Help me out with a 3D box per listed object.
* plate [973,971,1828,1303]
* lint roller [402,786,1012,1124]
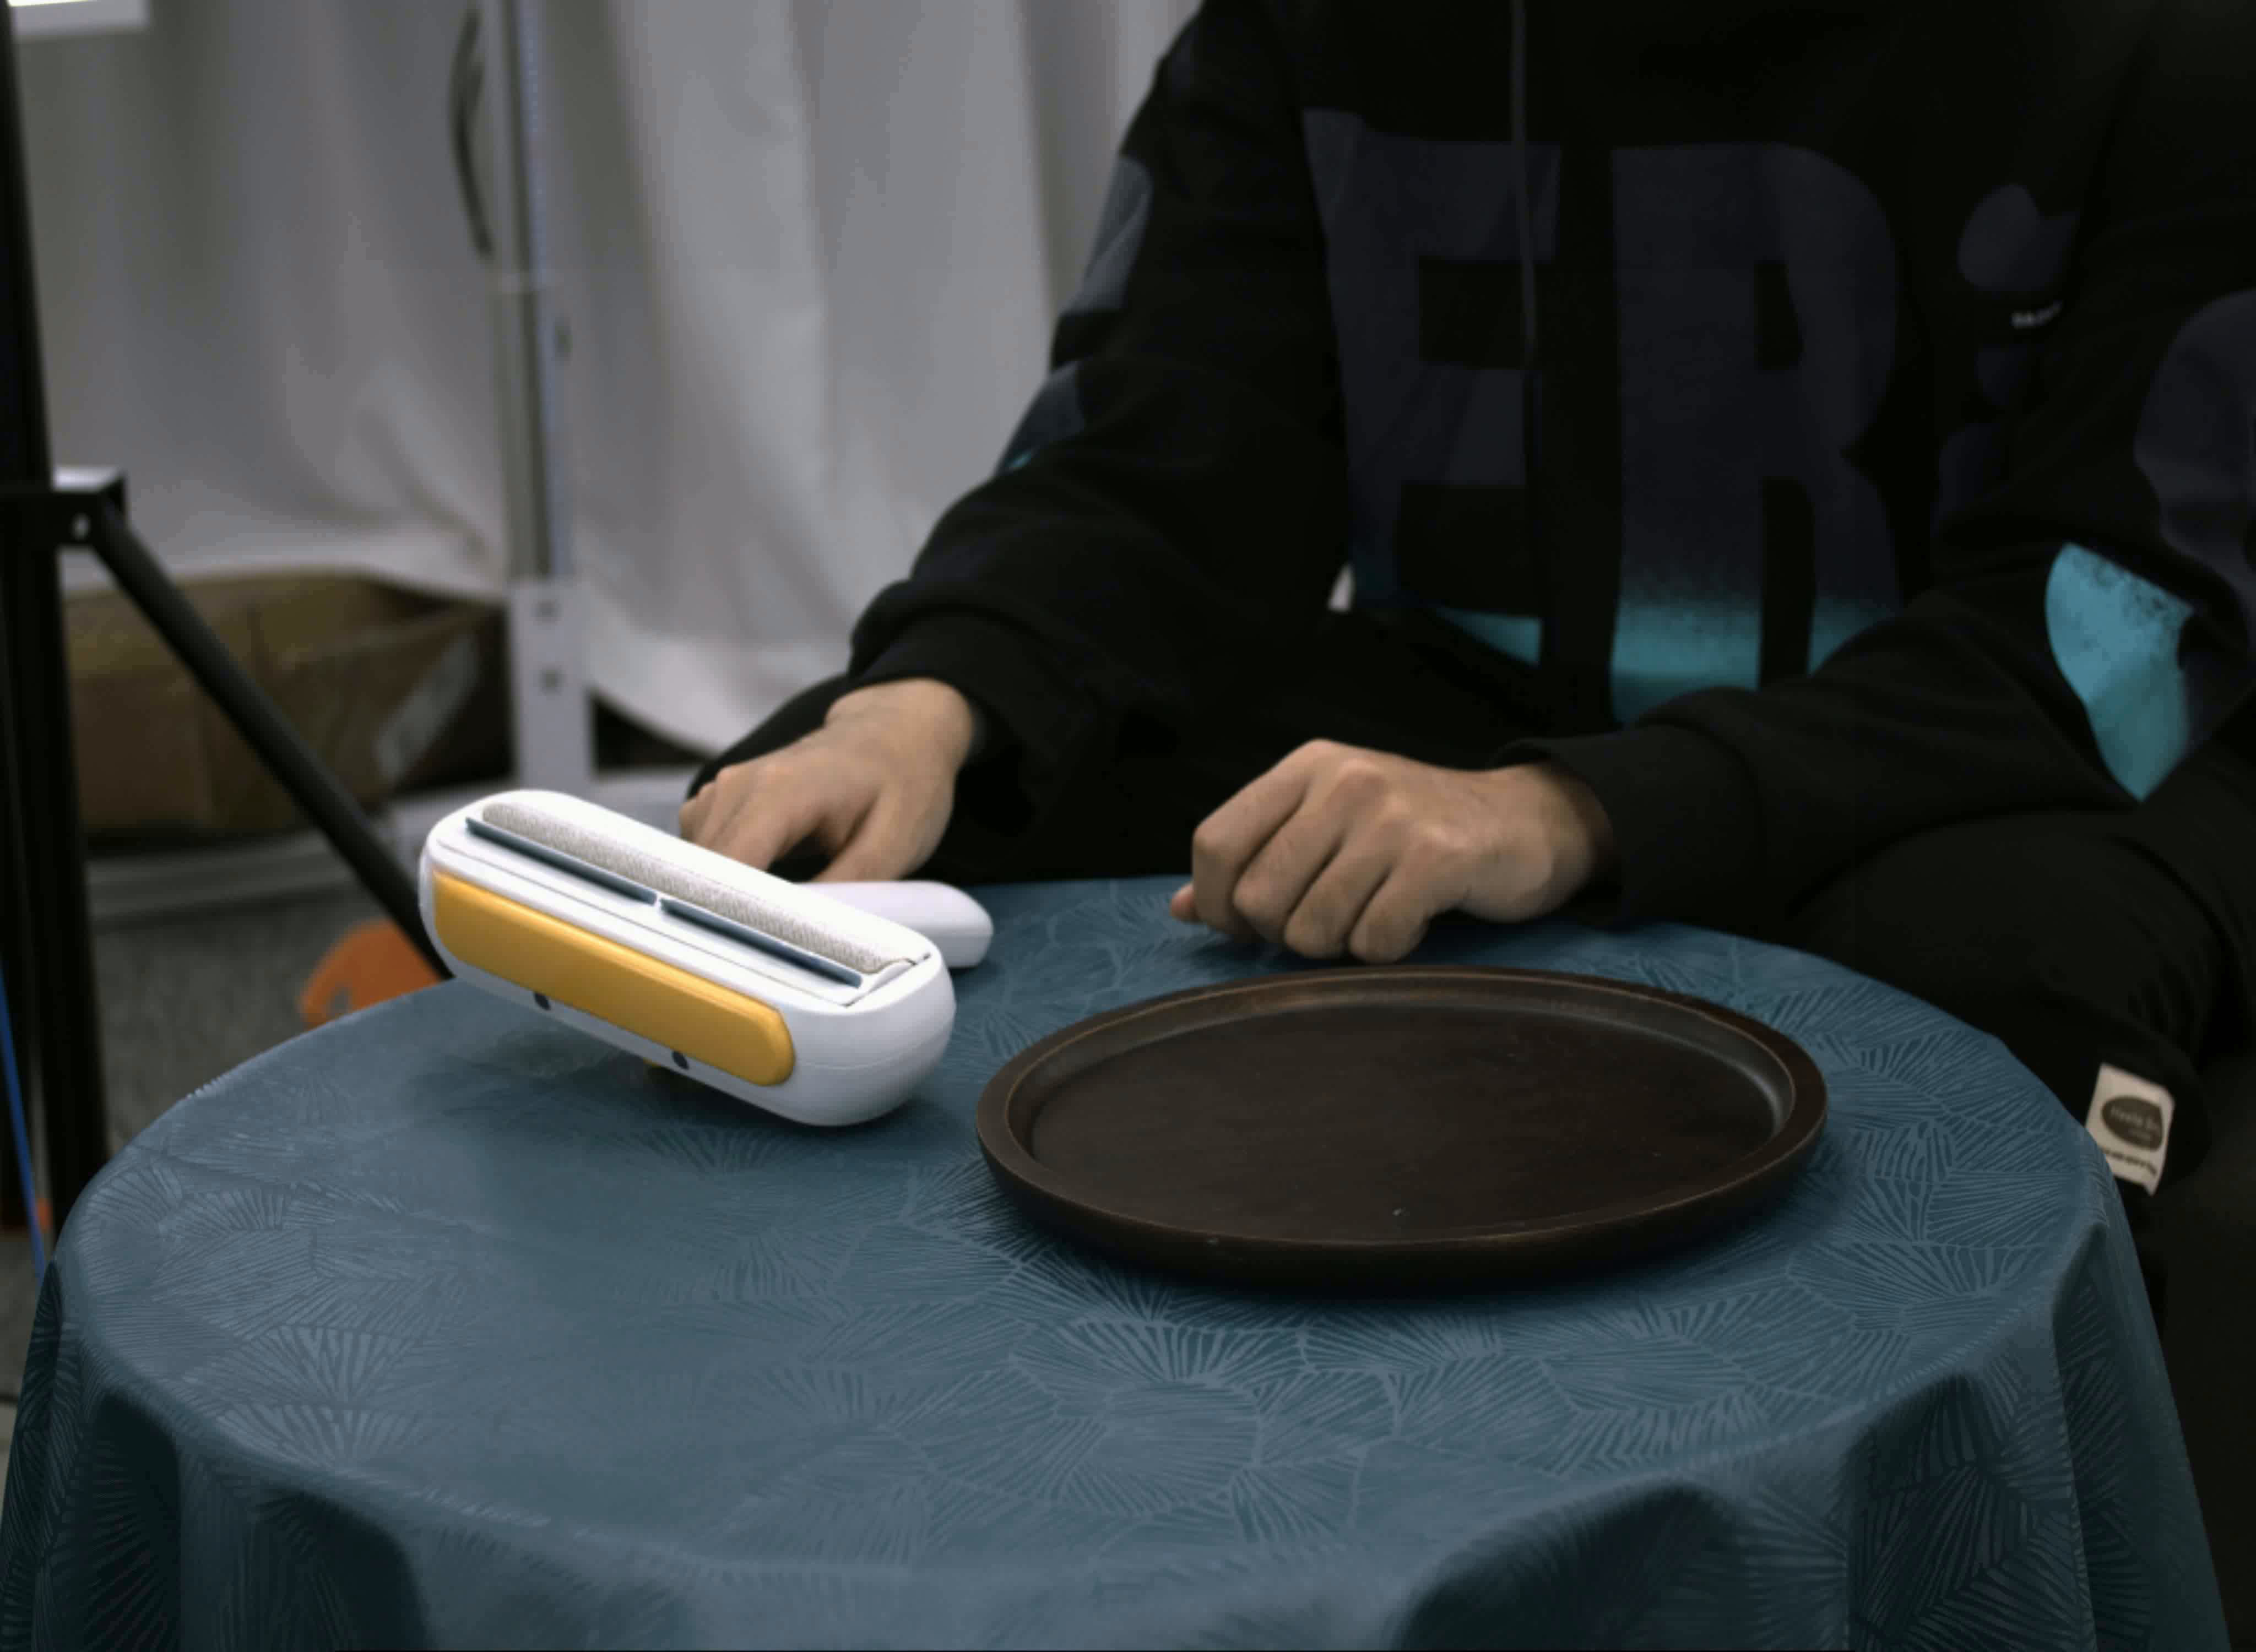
[{"bbox_3d":[0.080,0.089,1.568,0.253,0.029,0.256,-2,15,-1],"label":"plate"},{"bbox_3d":[-0.109,0.034,1.717,0.197,0.074,0.188,17,23,38],"label":"lint roller"}]
